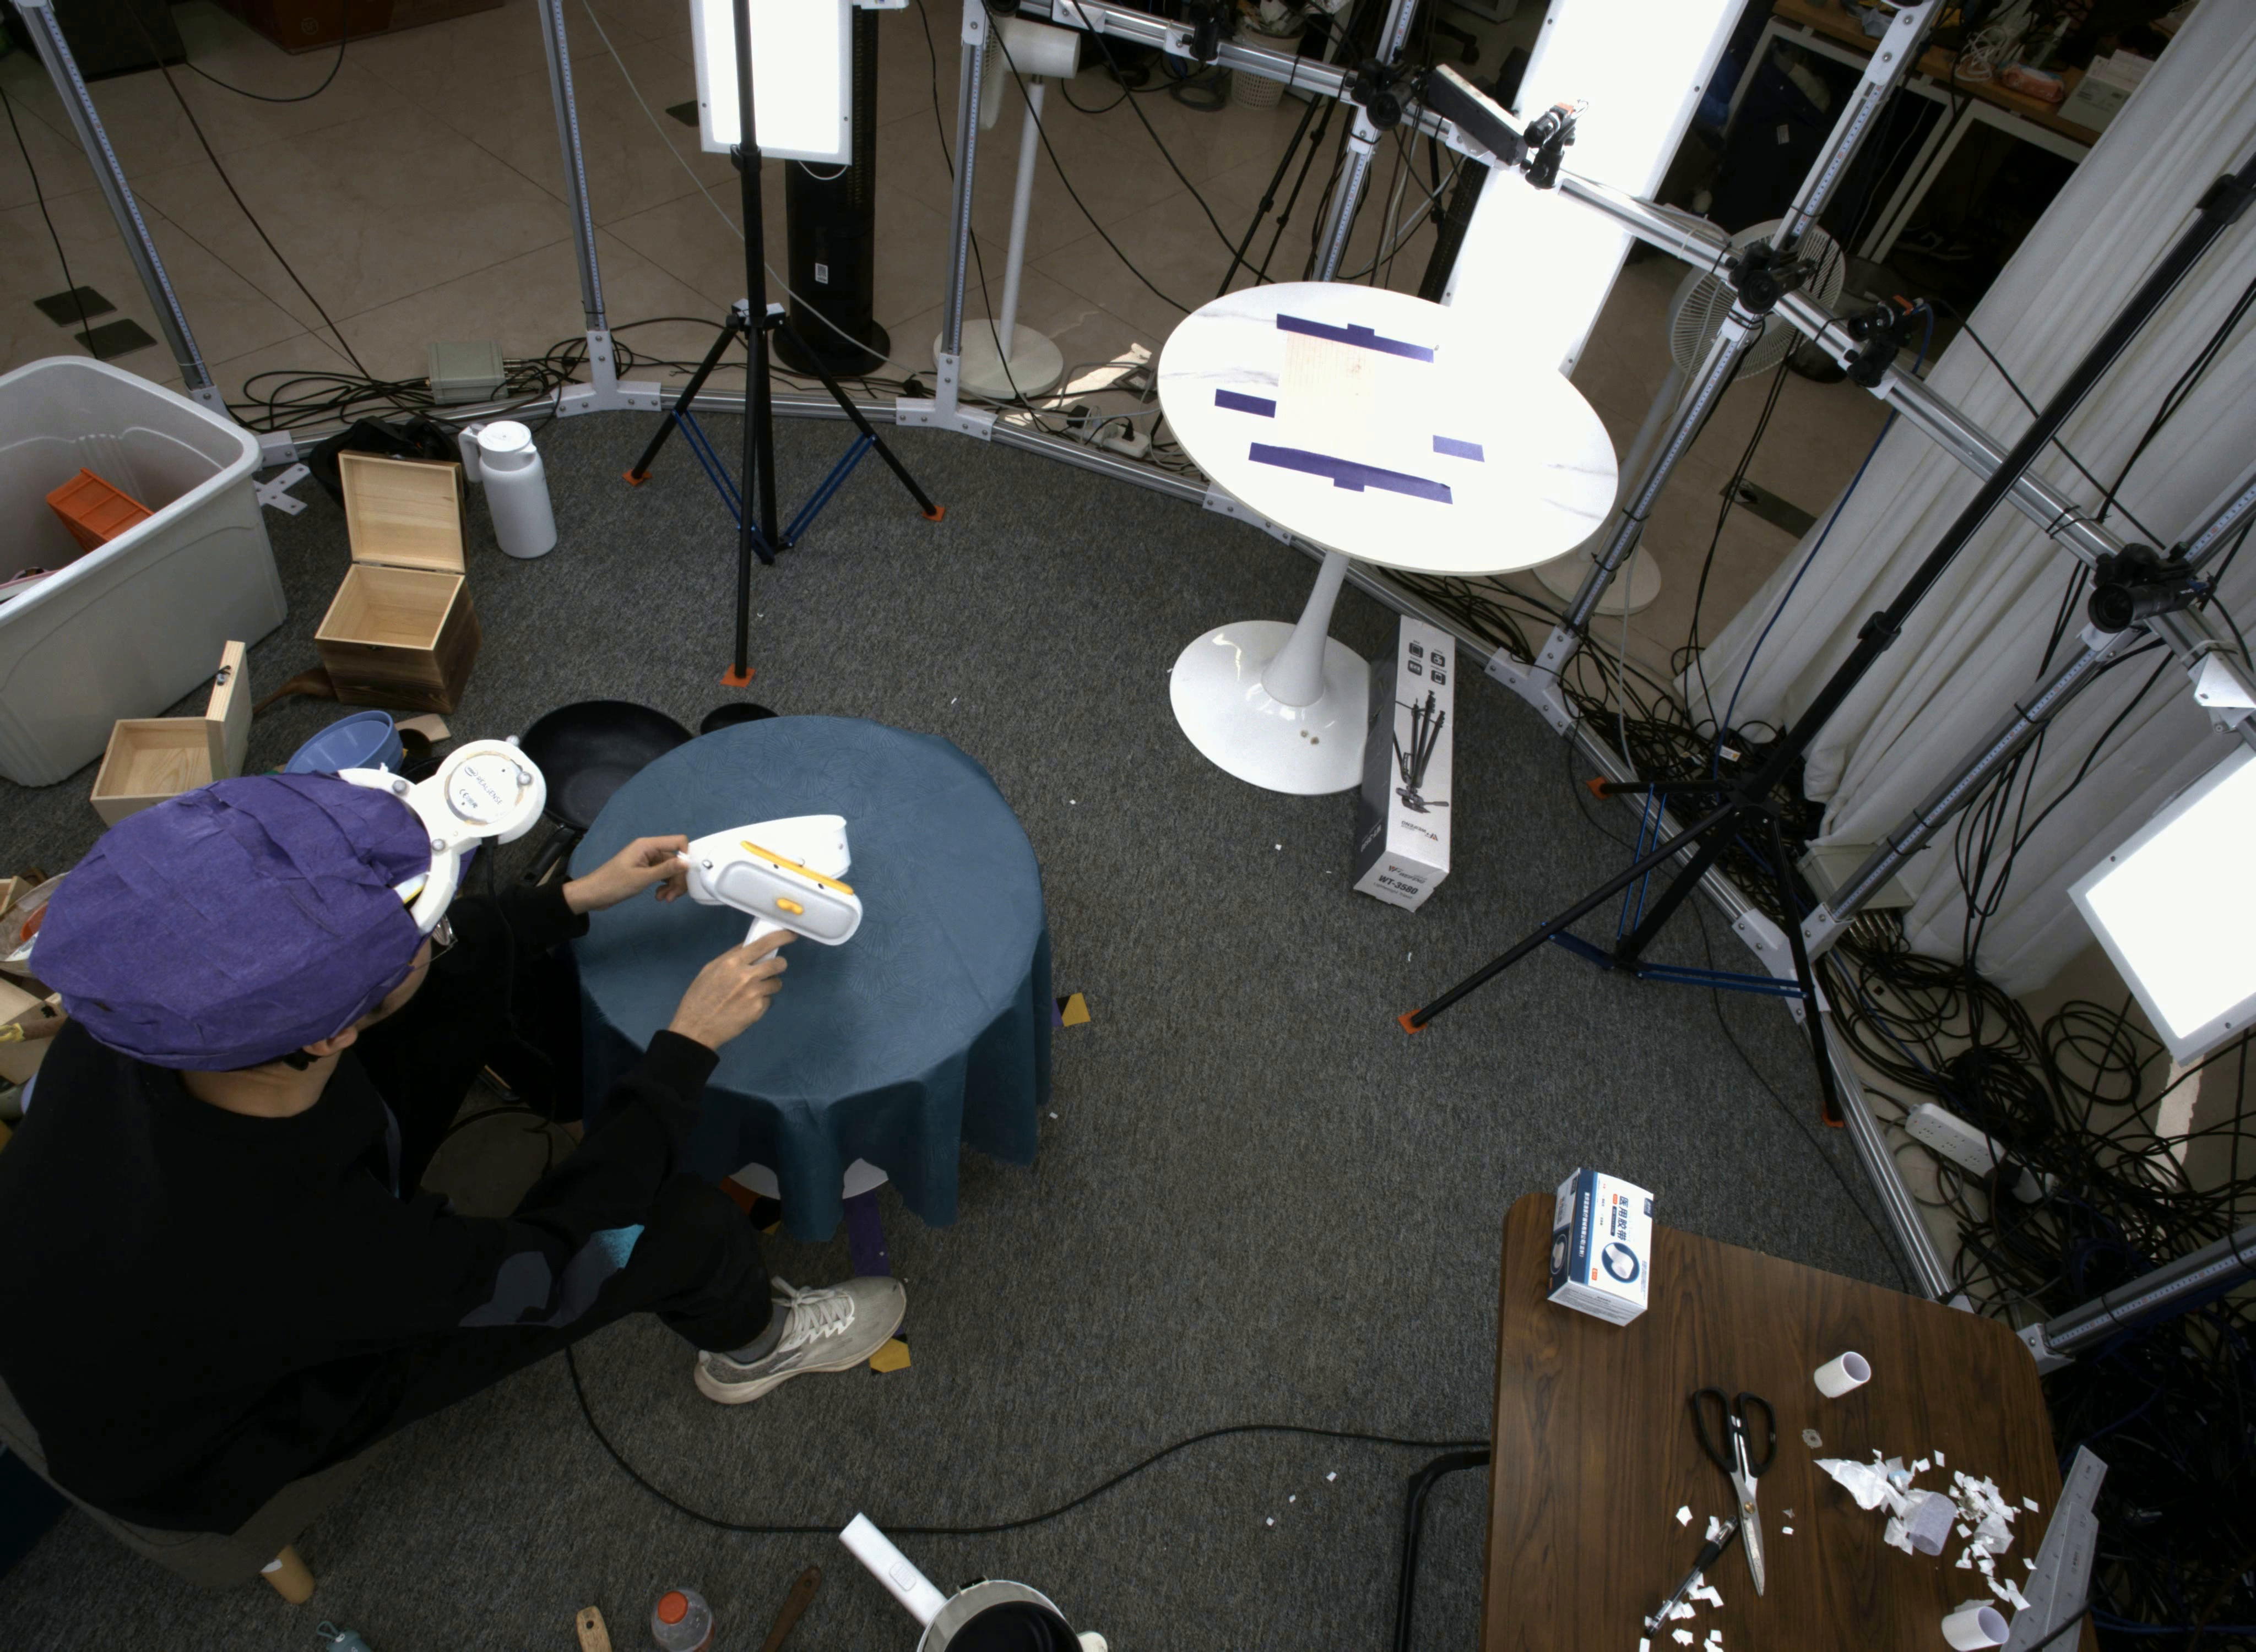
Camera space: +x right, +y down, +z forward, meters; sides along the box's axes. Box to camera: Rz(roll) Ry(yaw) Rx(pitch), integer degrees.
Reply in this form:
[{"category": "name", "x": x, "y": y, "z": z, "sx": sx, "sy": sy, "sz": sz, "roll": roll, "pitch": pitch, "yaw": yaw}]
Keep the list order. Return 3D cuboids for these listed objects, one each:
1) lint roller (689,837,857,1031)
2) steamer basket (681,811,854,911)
[{"category": "lint roller", "x": -0.411, "y": 0.127, "z": 1.438, "sx": 0.199, "sy": 0.194, "sz": 0.071, "roll": 23, "pitch": 0, "yaw": -42}, {"category": "steamer basket", "x": -0.430, "y": 0.041, "z": 1.559, "sx": 0.197, "sy": 0.071, "sz": 0.231, "roll": -6, "pitch": 14, "yaw": 22}]
